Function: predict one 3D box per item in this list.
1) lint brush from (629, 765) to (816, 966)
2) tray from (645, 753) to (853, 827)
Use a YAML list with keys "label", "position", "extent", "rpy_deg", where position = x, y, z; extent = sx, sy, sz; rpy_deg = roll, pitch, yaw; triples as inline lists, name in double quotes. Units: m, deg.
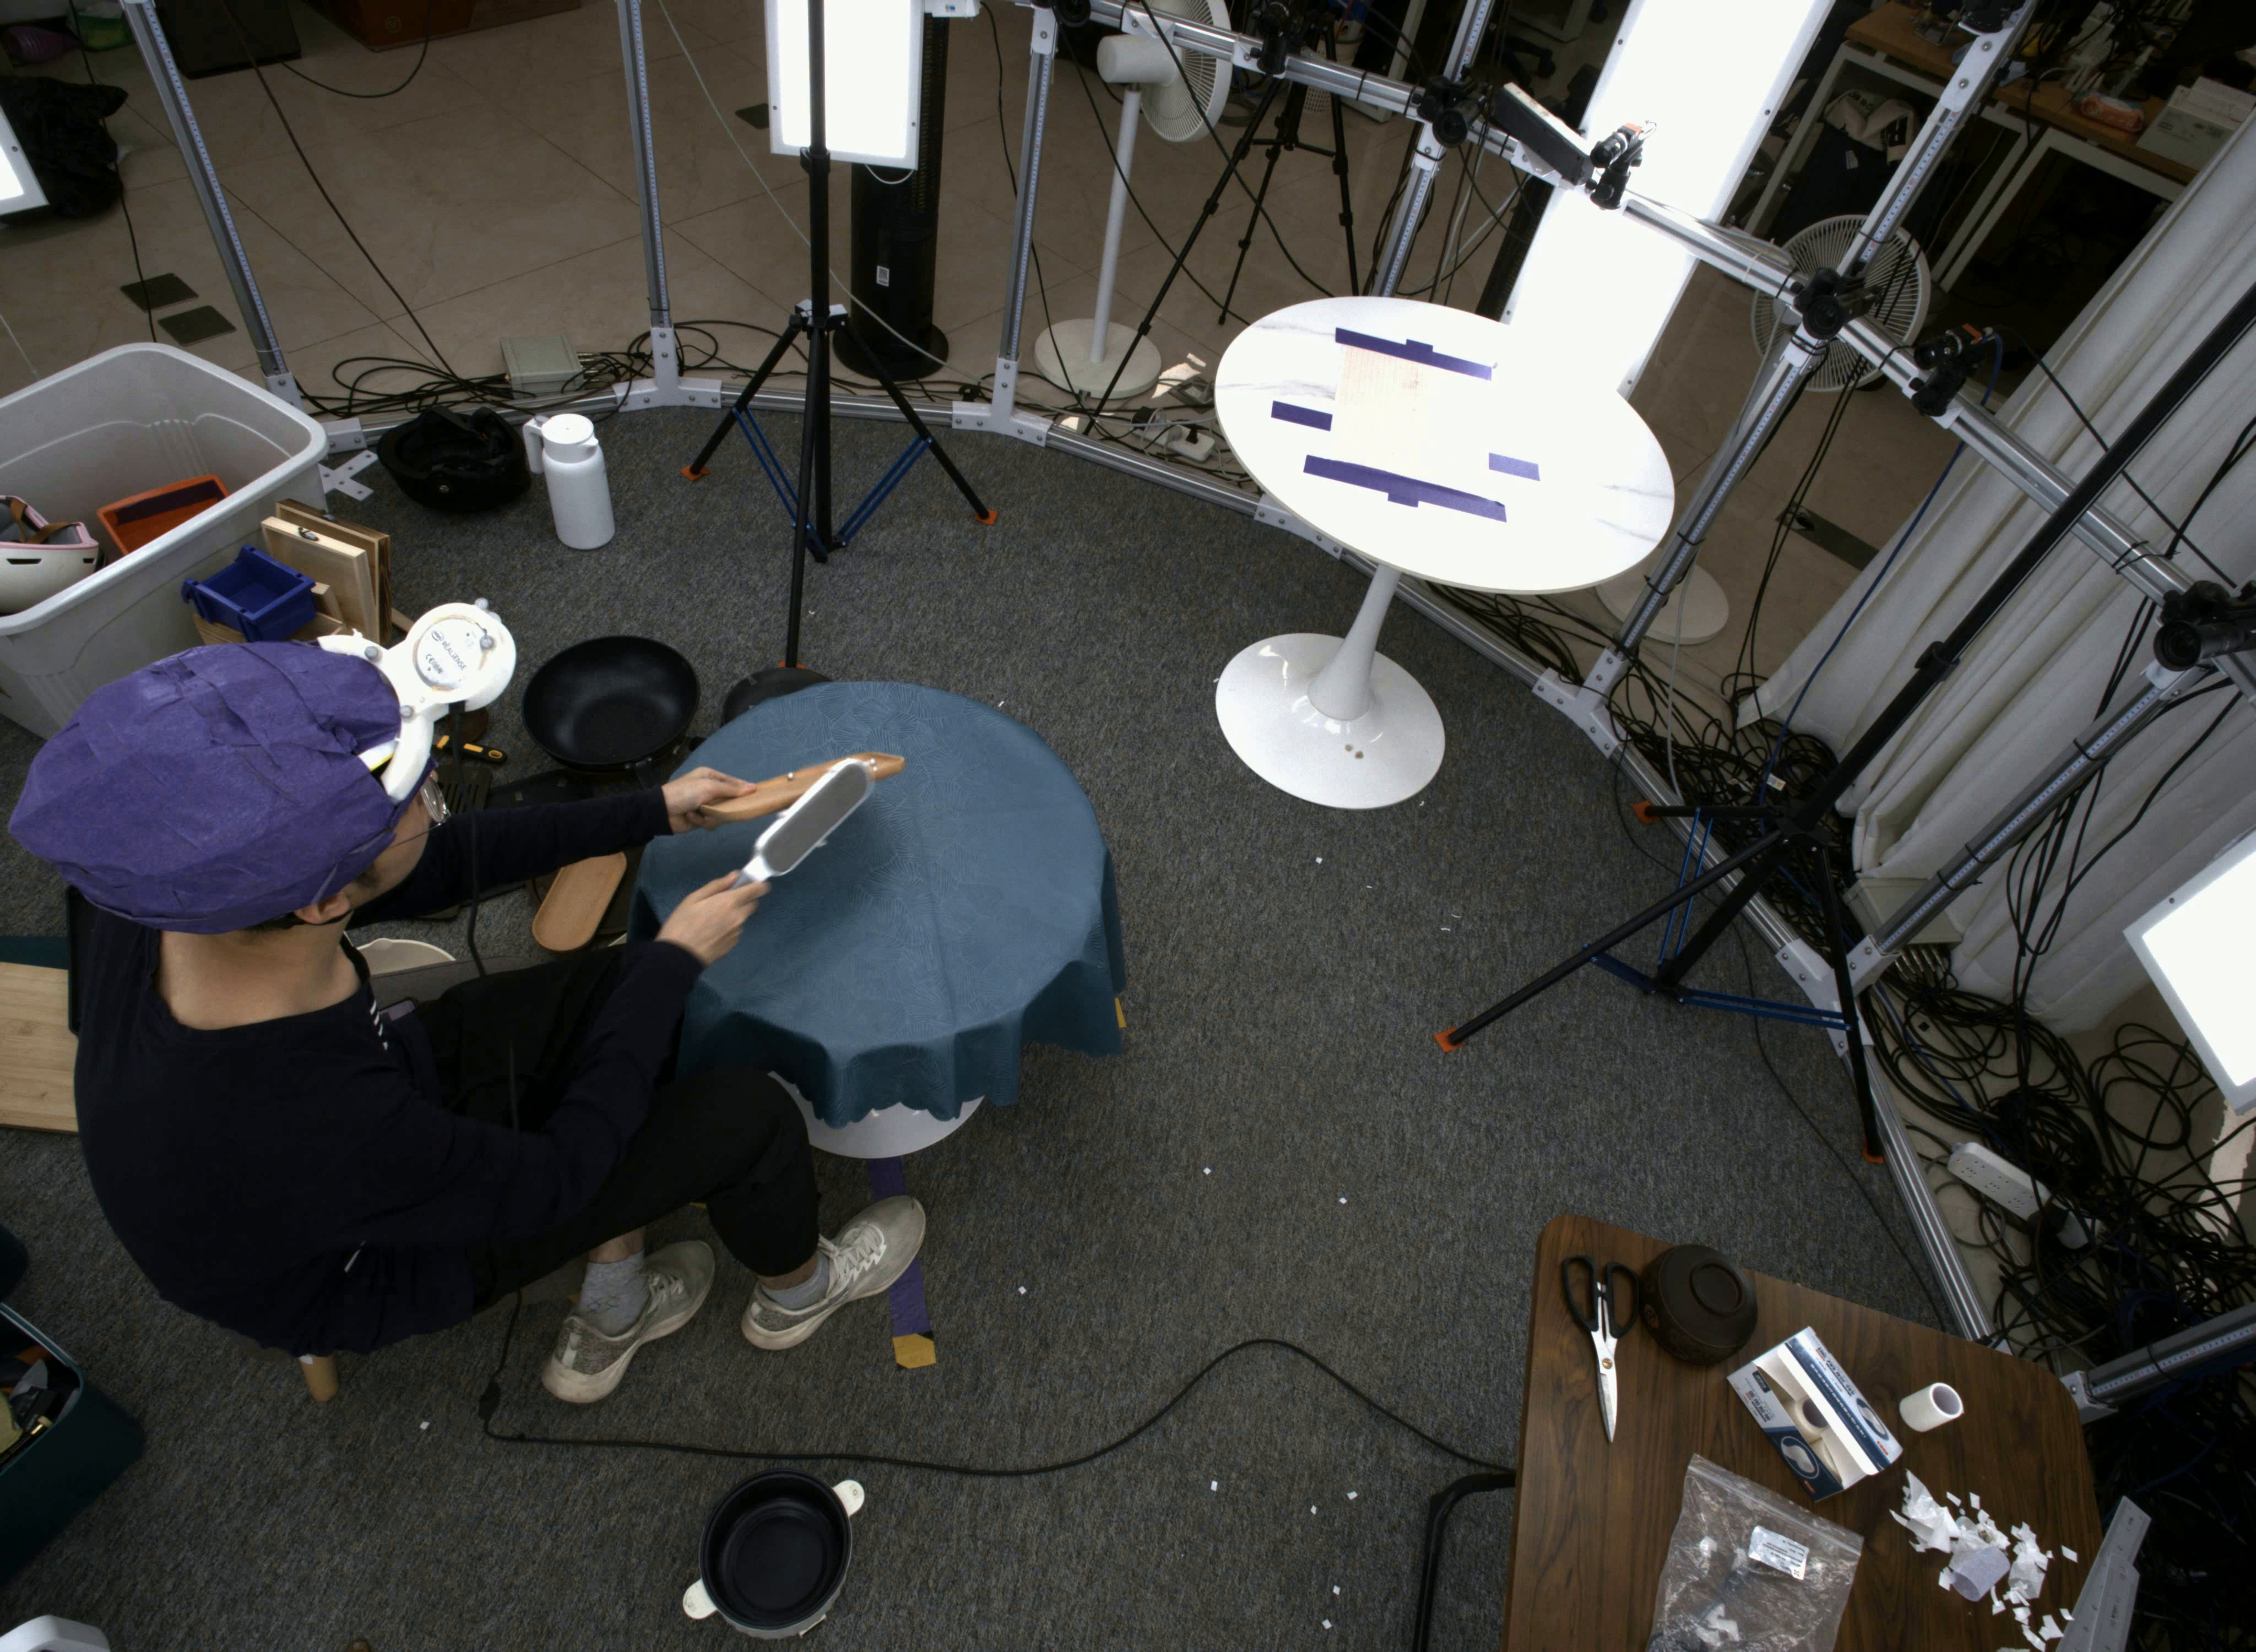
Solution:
- label: "lint brush"
  position: [-0.473, 0.041, 1.509]
  extent: [0.020, 0.062, 0.308]
  rpy_deg: [16, 56, 36]
- label: "tray"
  position: [-0.469, -0.048, 1.608]
  extent: [0.252, 0.023, 0.126]
  rpy_deg: [-23, 18, -36]
